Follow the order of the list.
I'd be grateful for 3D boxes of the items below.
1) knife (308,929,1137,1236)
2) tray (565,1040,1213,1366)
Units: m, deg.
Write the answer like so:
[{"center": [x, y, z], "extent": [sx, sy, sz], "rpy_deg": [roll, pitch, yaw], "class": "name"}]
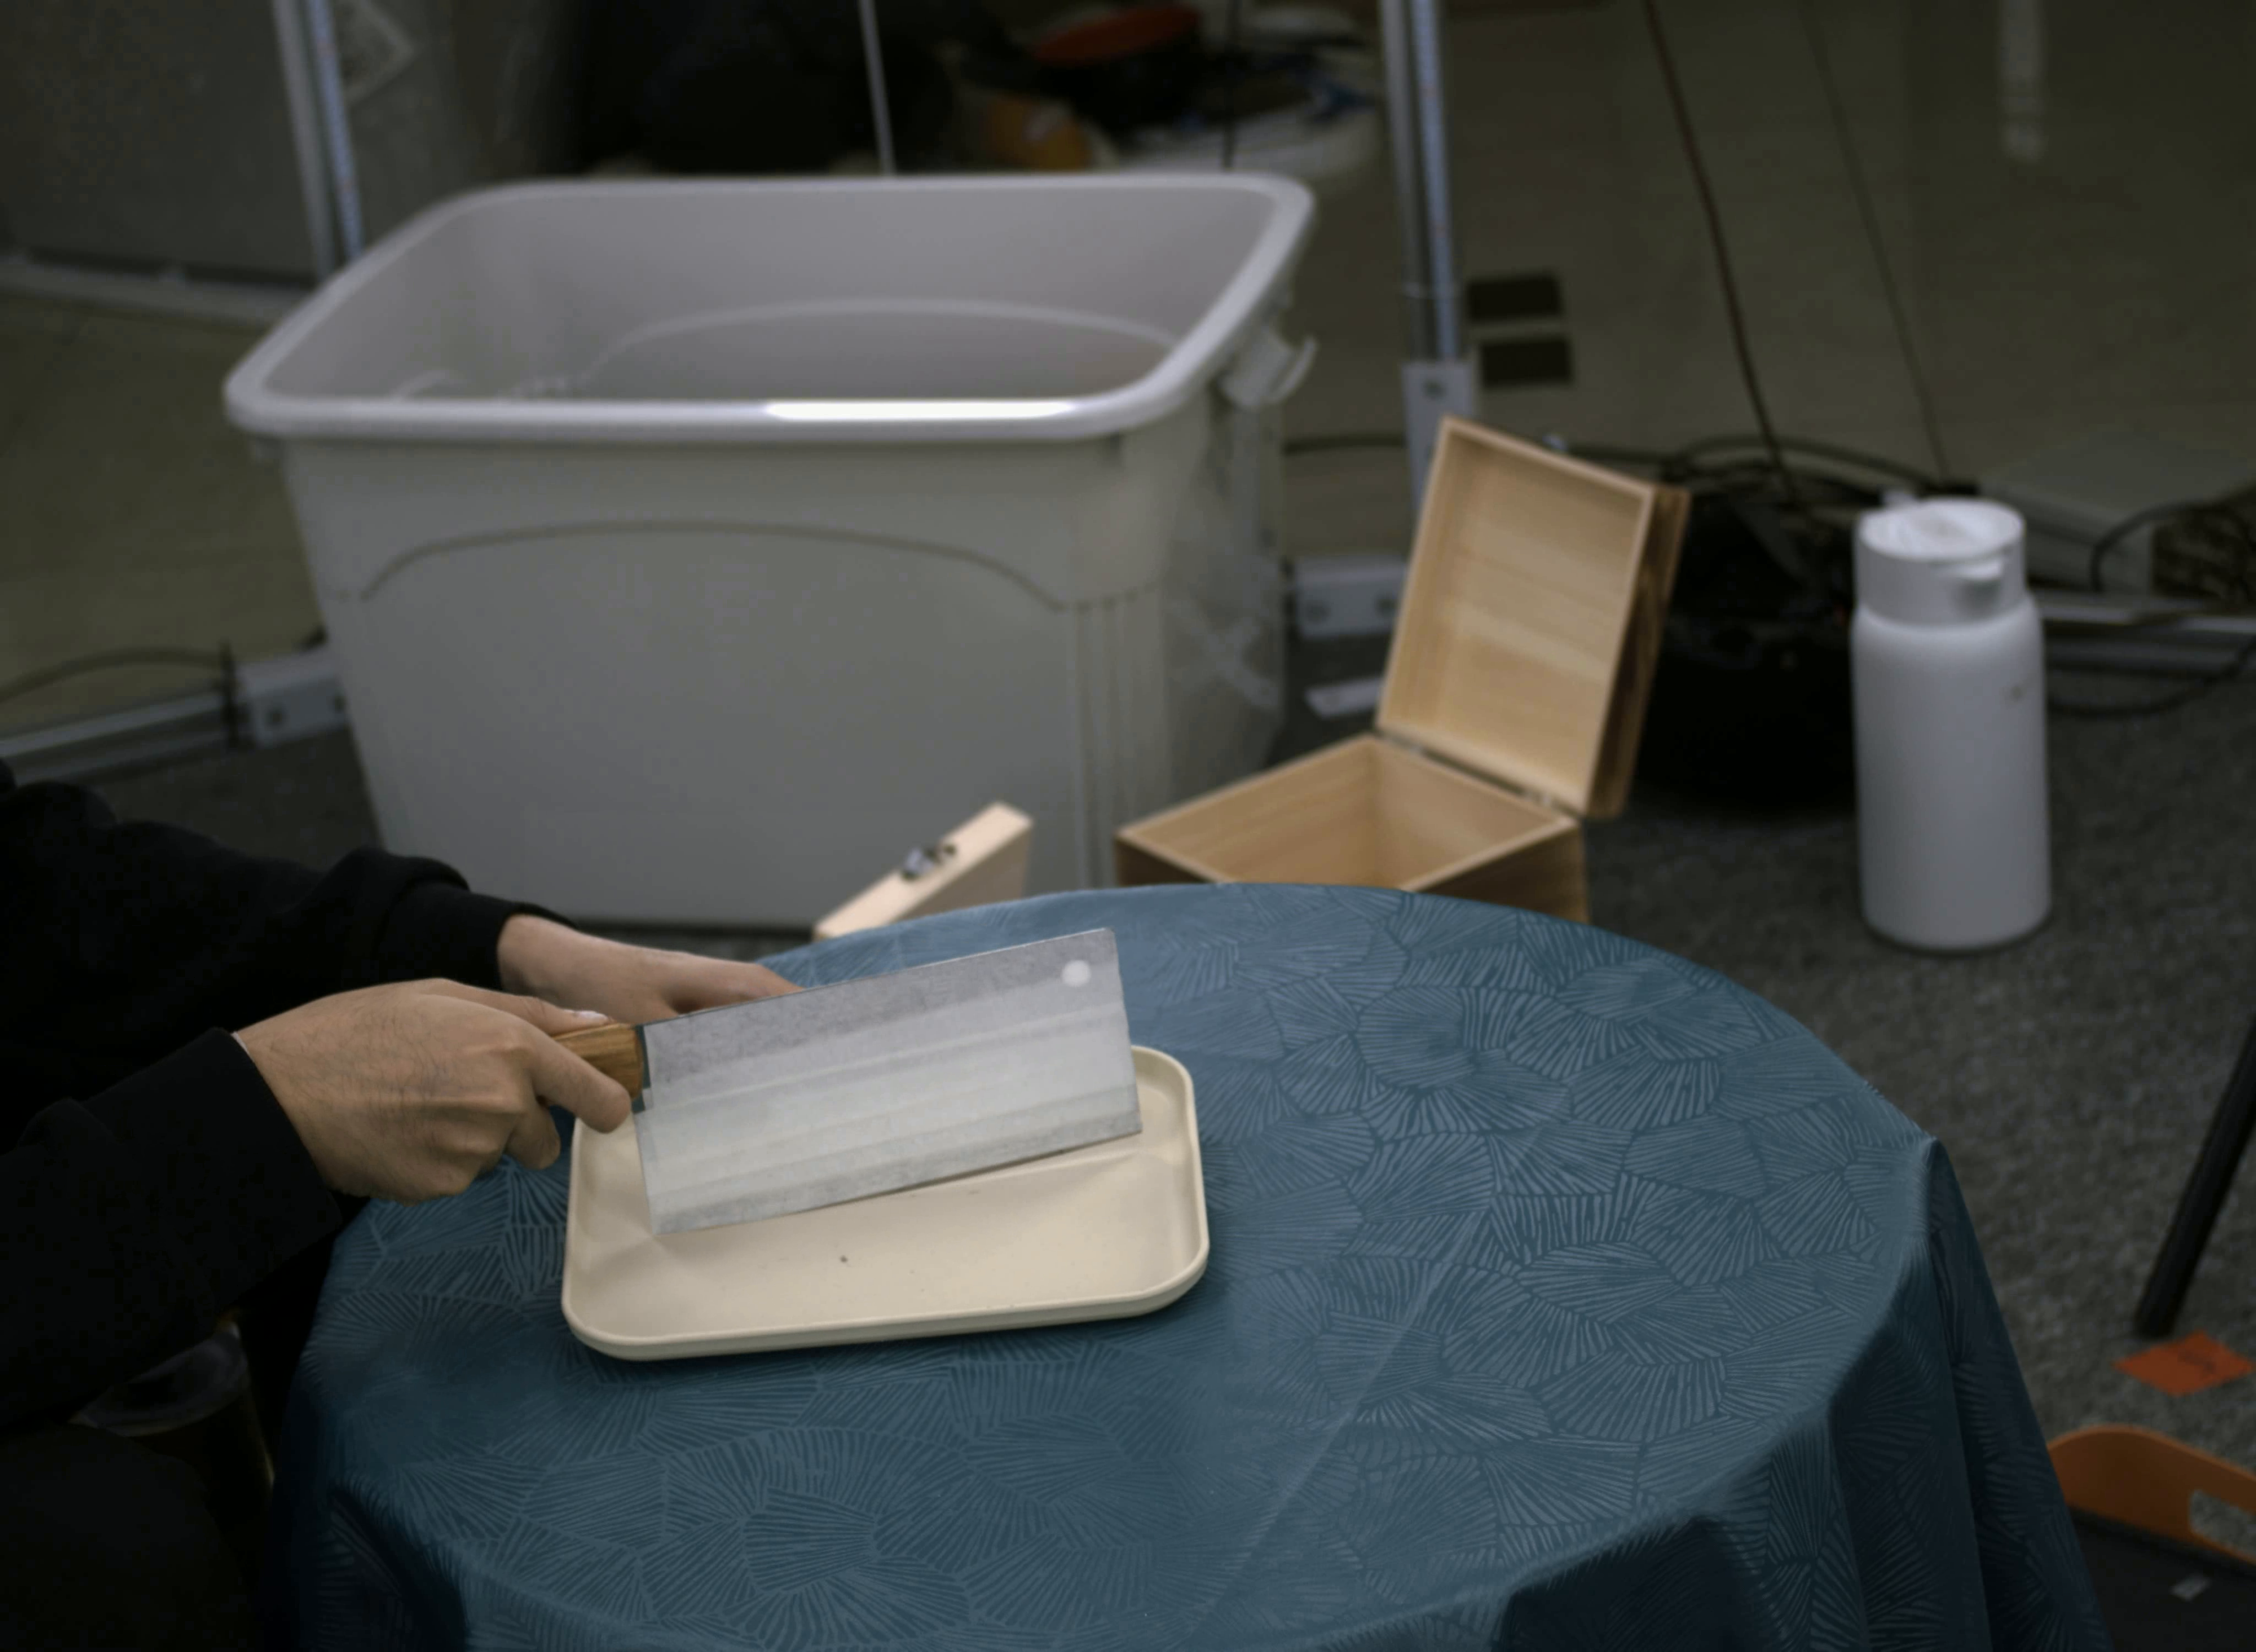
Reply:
[{"center": [-0.147, 0.106, 2.106], "extent": [0.305, 0.094, 0.020], "rpy_deg": [-11, 28, -6], "class": "knife"}, {"center": [-0.090, 0.142, 2.121], "extent": [0.239, 0.018, 0.168], "rpy_deg": [-5, 33, 0], "class": "tray"}]
